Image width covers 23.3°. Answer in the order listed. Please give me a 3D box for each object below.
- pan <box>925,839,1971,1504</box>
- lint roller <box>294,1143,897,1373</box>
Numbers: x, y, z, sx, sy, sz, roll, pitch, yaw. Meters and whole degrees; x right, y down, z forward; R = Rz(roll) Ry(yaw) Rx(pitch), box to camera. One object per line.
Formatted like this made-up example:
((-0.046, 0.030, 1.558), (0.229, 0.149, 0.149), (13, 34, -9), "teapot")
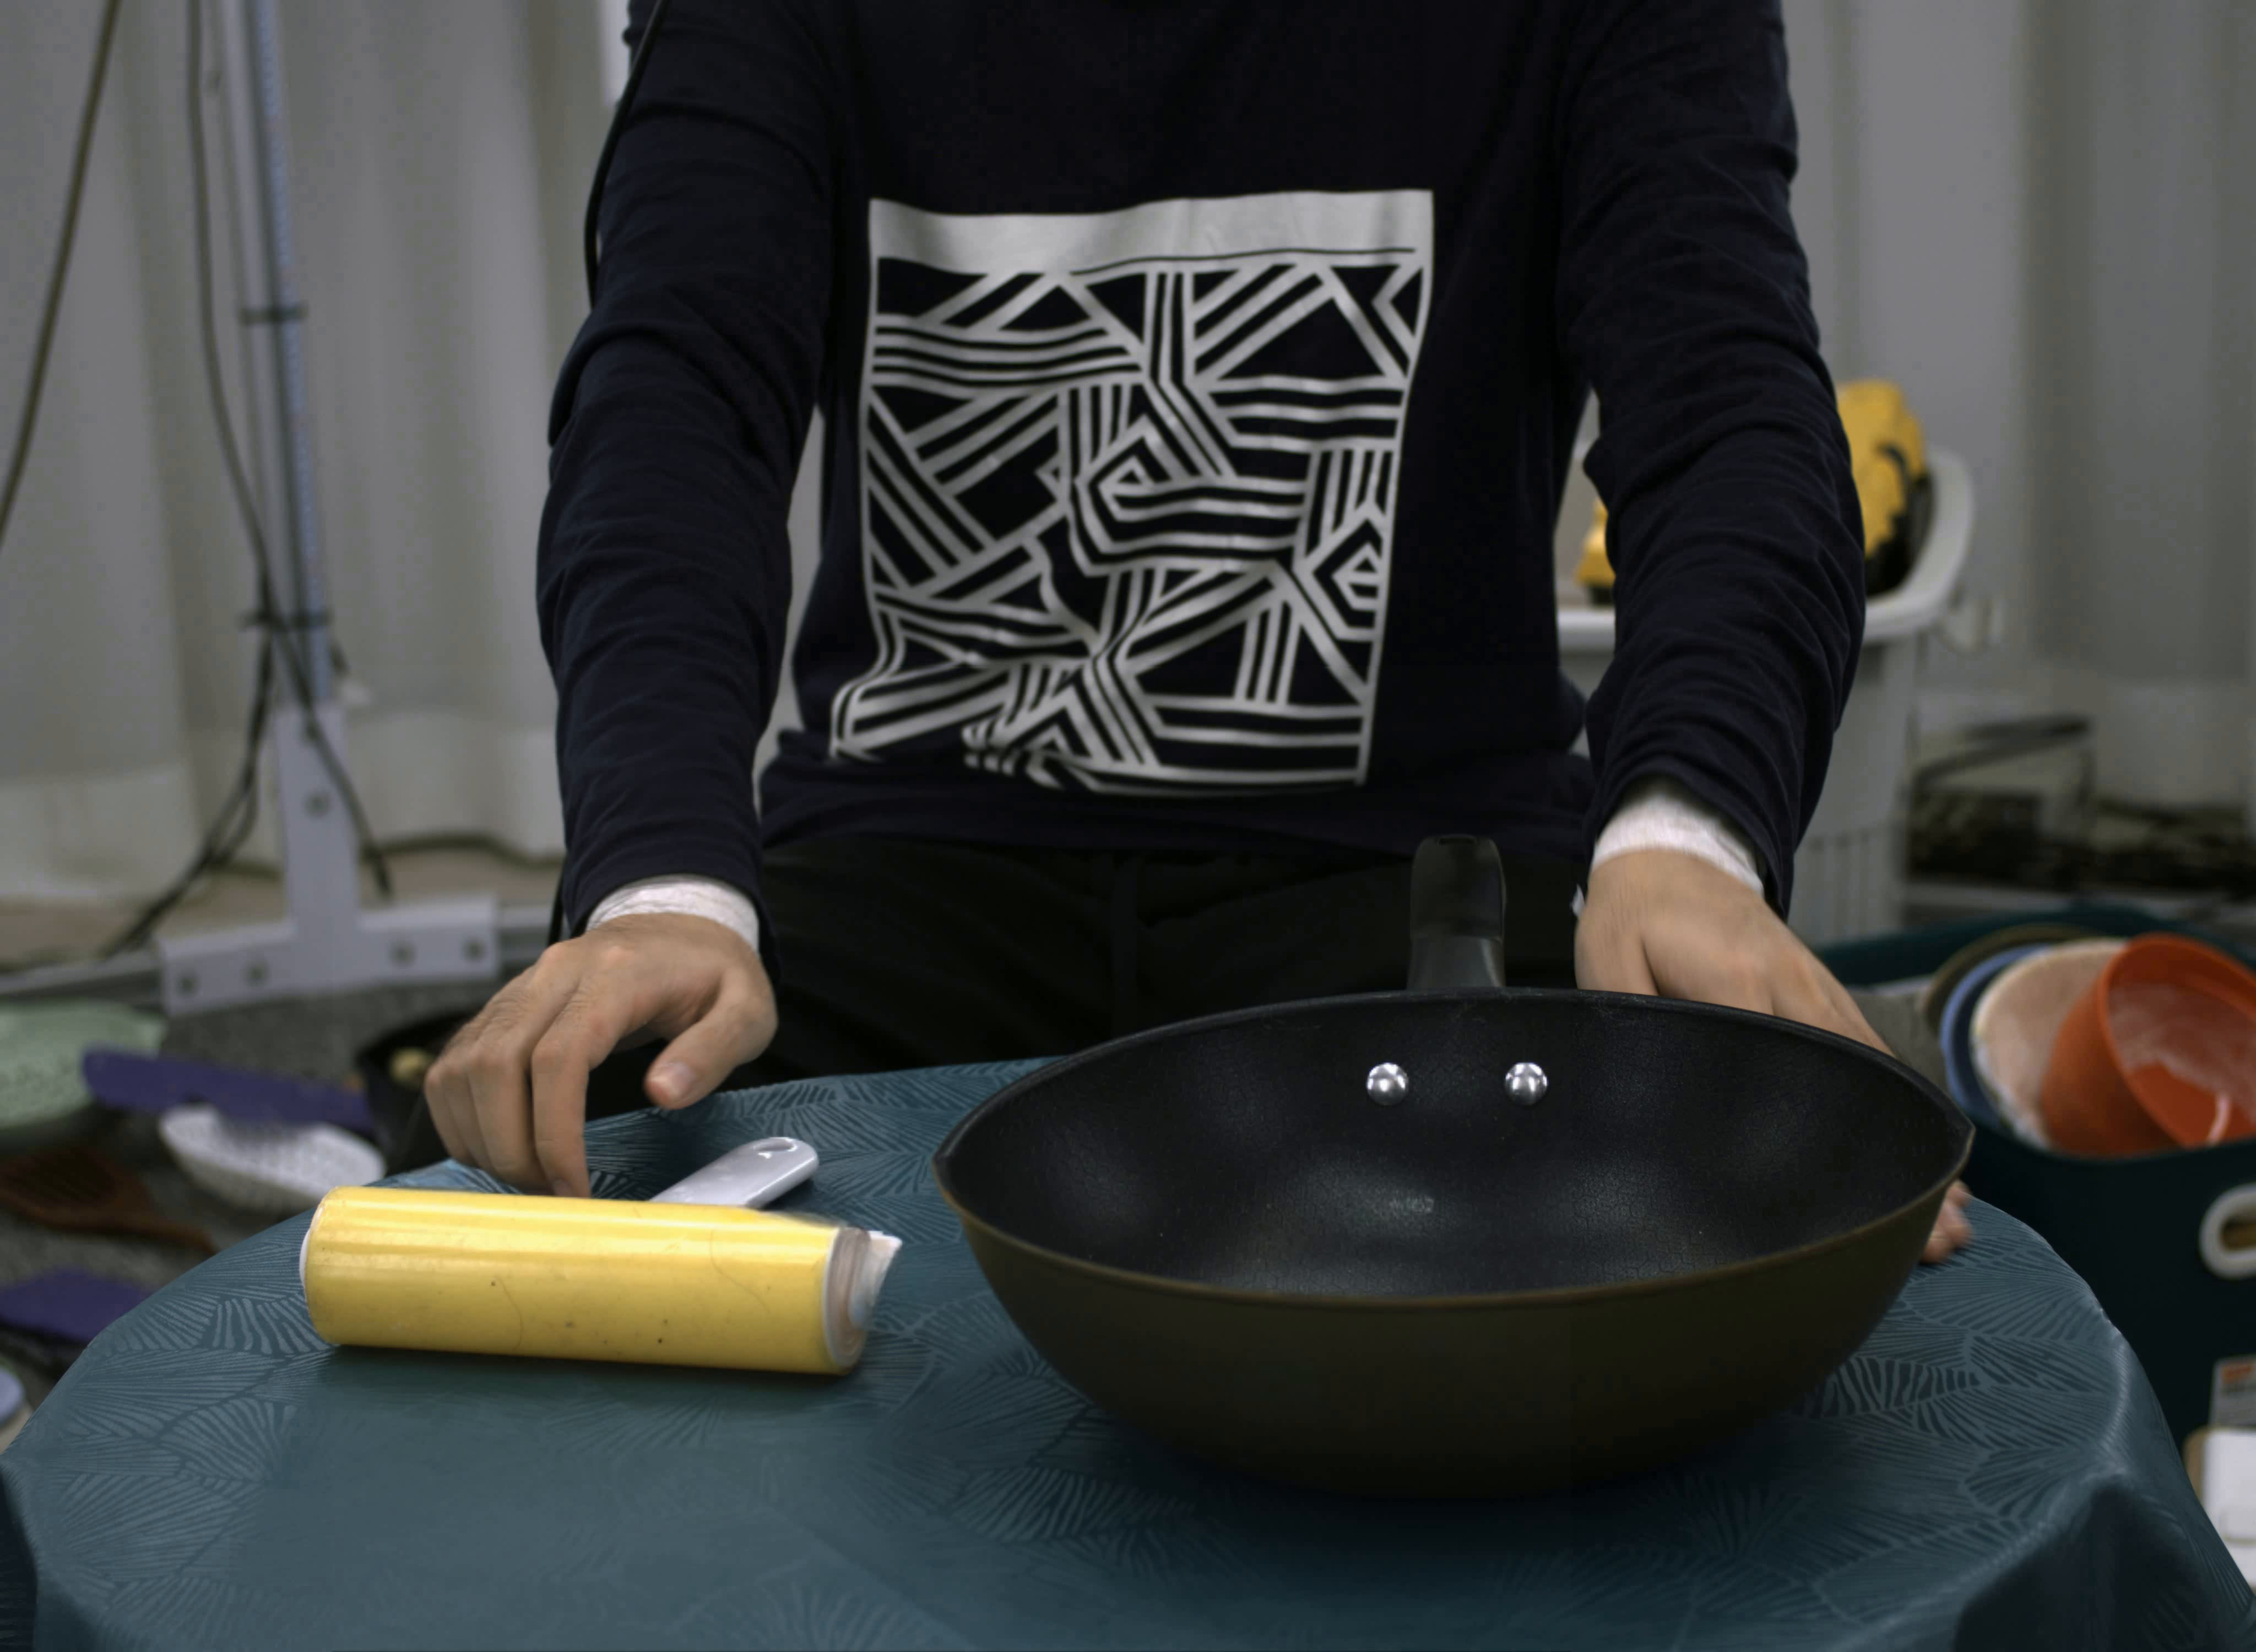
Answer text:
((0.094, 0.098, 1.601), (0.287, 0.086, 0.466), (-1, 14, 4), "pan")
((-0.140, 0.113, 1.656), (0.174, 0.051, 0.193), (2, 17, 15), "lint roller")
